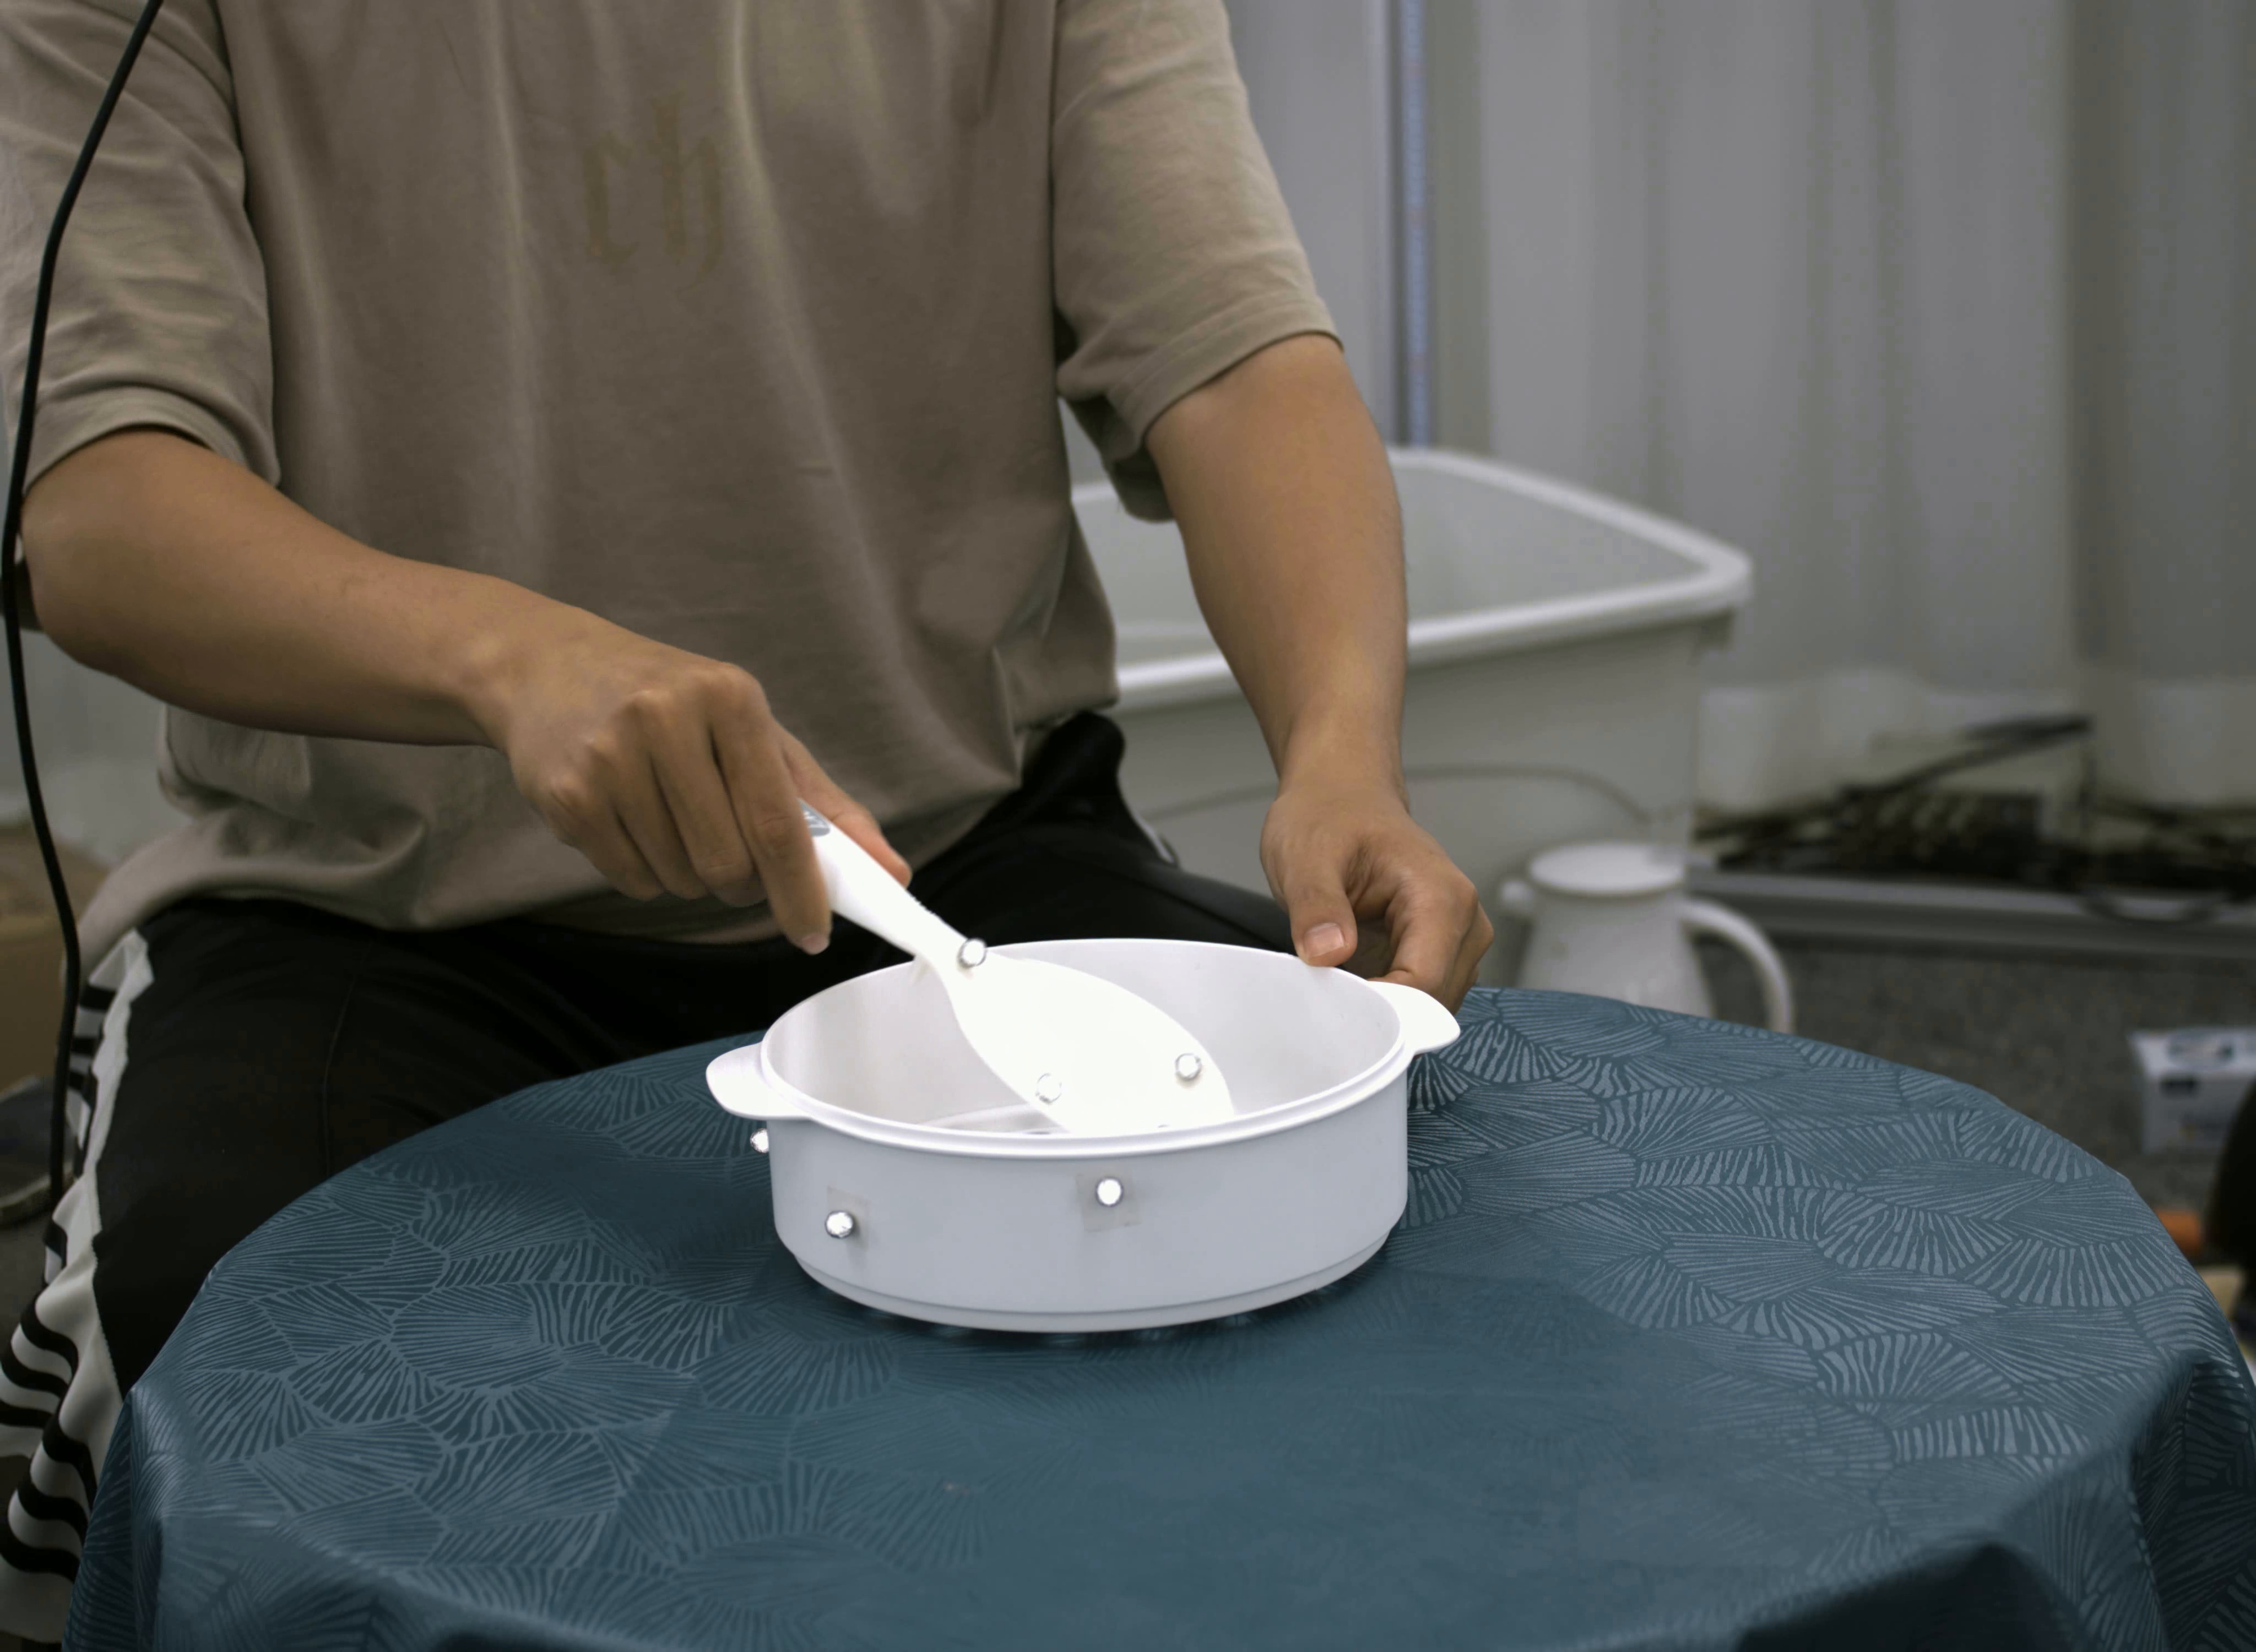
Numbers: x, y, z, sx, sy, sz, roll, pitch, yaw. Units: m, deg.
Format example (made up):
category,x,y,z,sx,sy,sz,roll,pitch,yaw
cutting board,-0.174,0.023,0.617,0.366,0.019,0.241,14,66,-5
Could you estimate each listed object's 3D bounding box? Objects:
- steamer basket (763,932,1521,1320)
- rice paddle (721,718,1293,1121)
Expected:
category,x,y,z,sx,sy,sz,roll,pitch,yaw
steamer basket,0.004,0.091,1.662,0.229,0.069,0.203,-3,15,-11
rice paddle,-0.035,0.033,1.678,0.206,0.029,0.069,34,40,15
